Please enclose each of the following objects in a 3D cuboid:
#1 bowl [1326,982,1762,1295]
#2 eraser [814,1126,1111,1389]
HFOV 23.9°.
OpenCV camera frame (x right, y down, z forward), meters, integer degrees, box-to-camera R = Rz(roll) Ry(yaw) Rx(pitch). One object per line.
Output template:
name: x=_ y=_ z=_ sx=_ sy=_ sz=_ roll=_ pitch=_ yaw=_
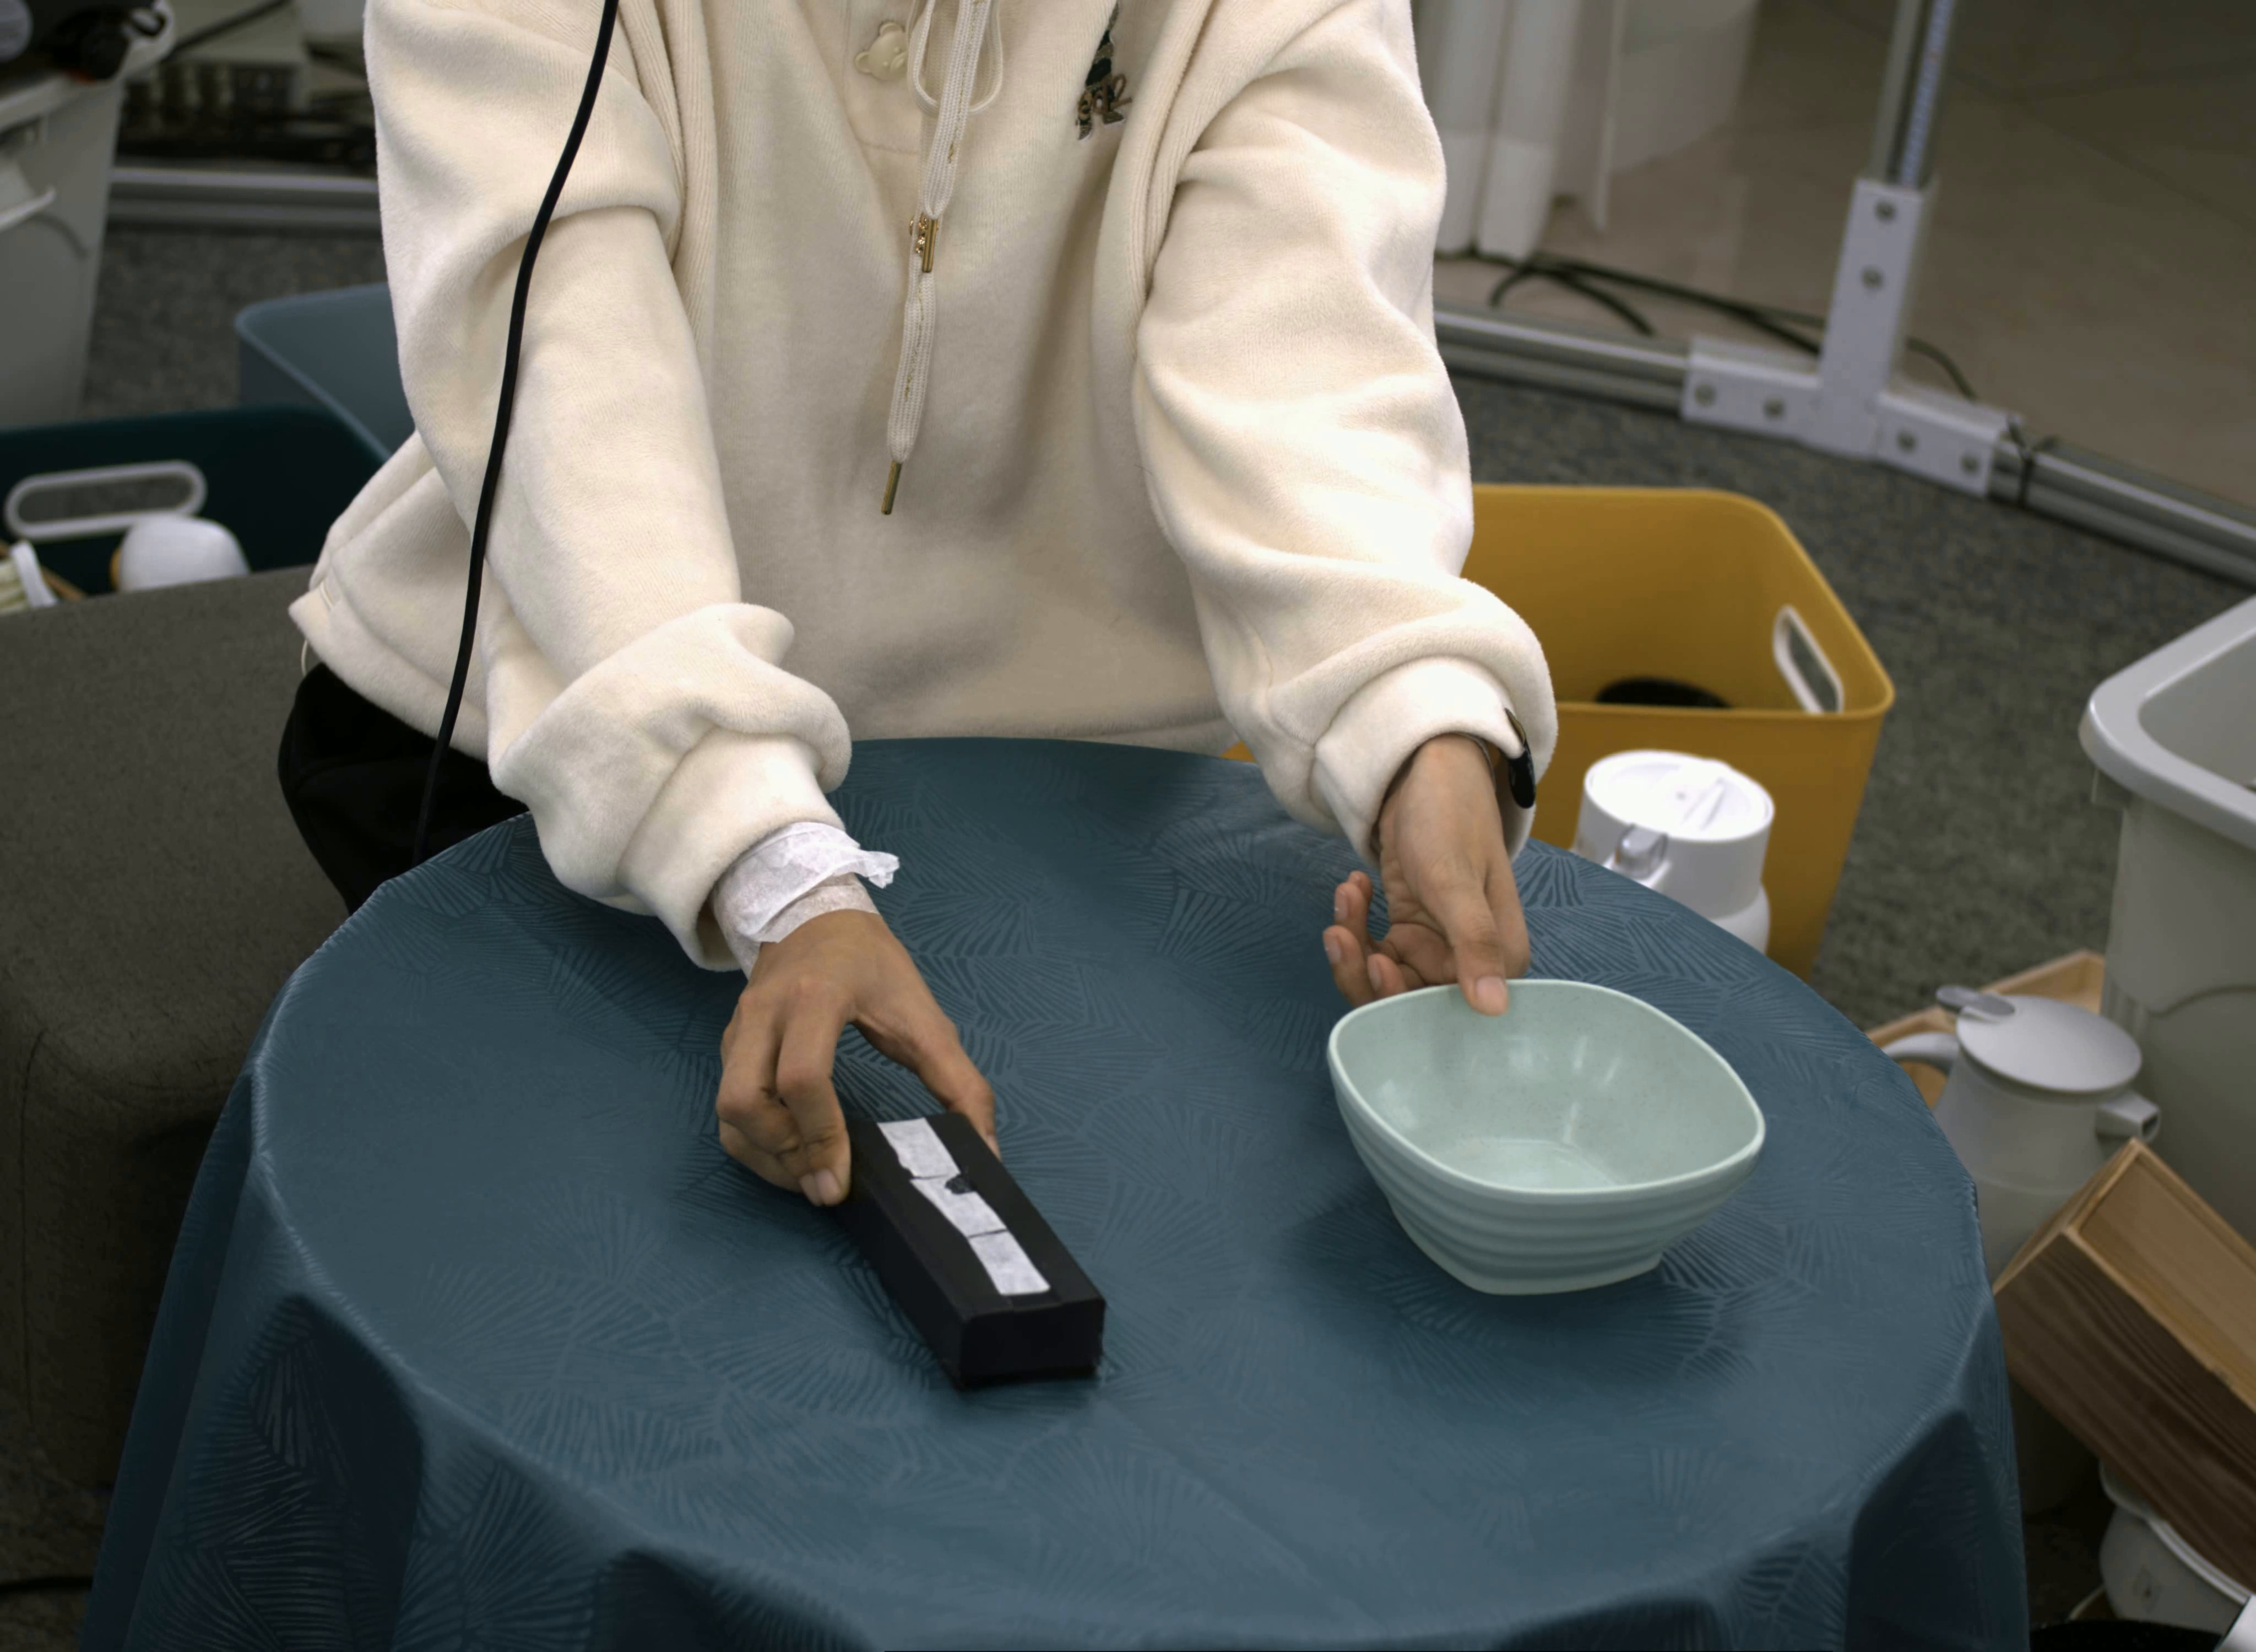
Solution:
bowl: x=0.135 y=0.111 z=1.794 sx=0.151 sy=0.058 sz=0.152 roll=8 pitch=26 yaw=-4
eraser: x=-0.055 y=0.139 z=1.729 sx=0.053 sy=0.030 sz=0.126 roll=-5 pitch=27 yaw=-26
